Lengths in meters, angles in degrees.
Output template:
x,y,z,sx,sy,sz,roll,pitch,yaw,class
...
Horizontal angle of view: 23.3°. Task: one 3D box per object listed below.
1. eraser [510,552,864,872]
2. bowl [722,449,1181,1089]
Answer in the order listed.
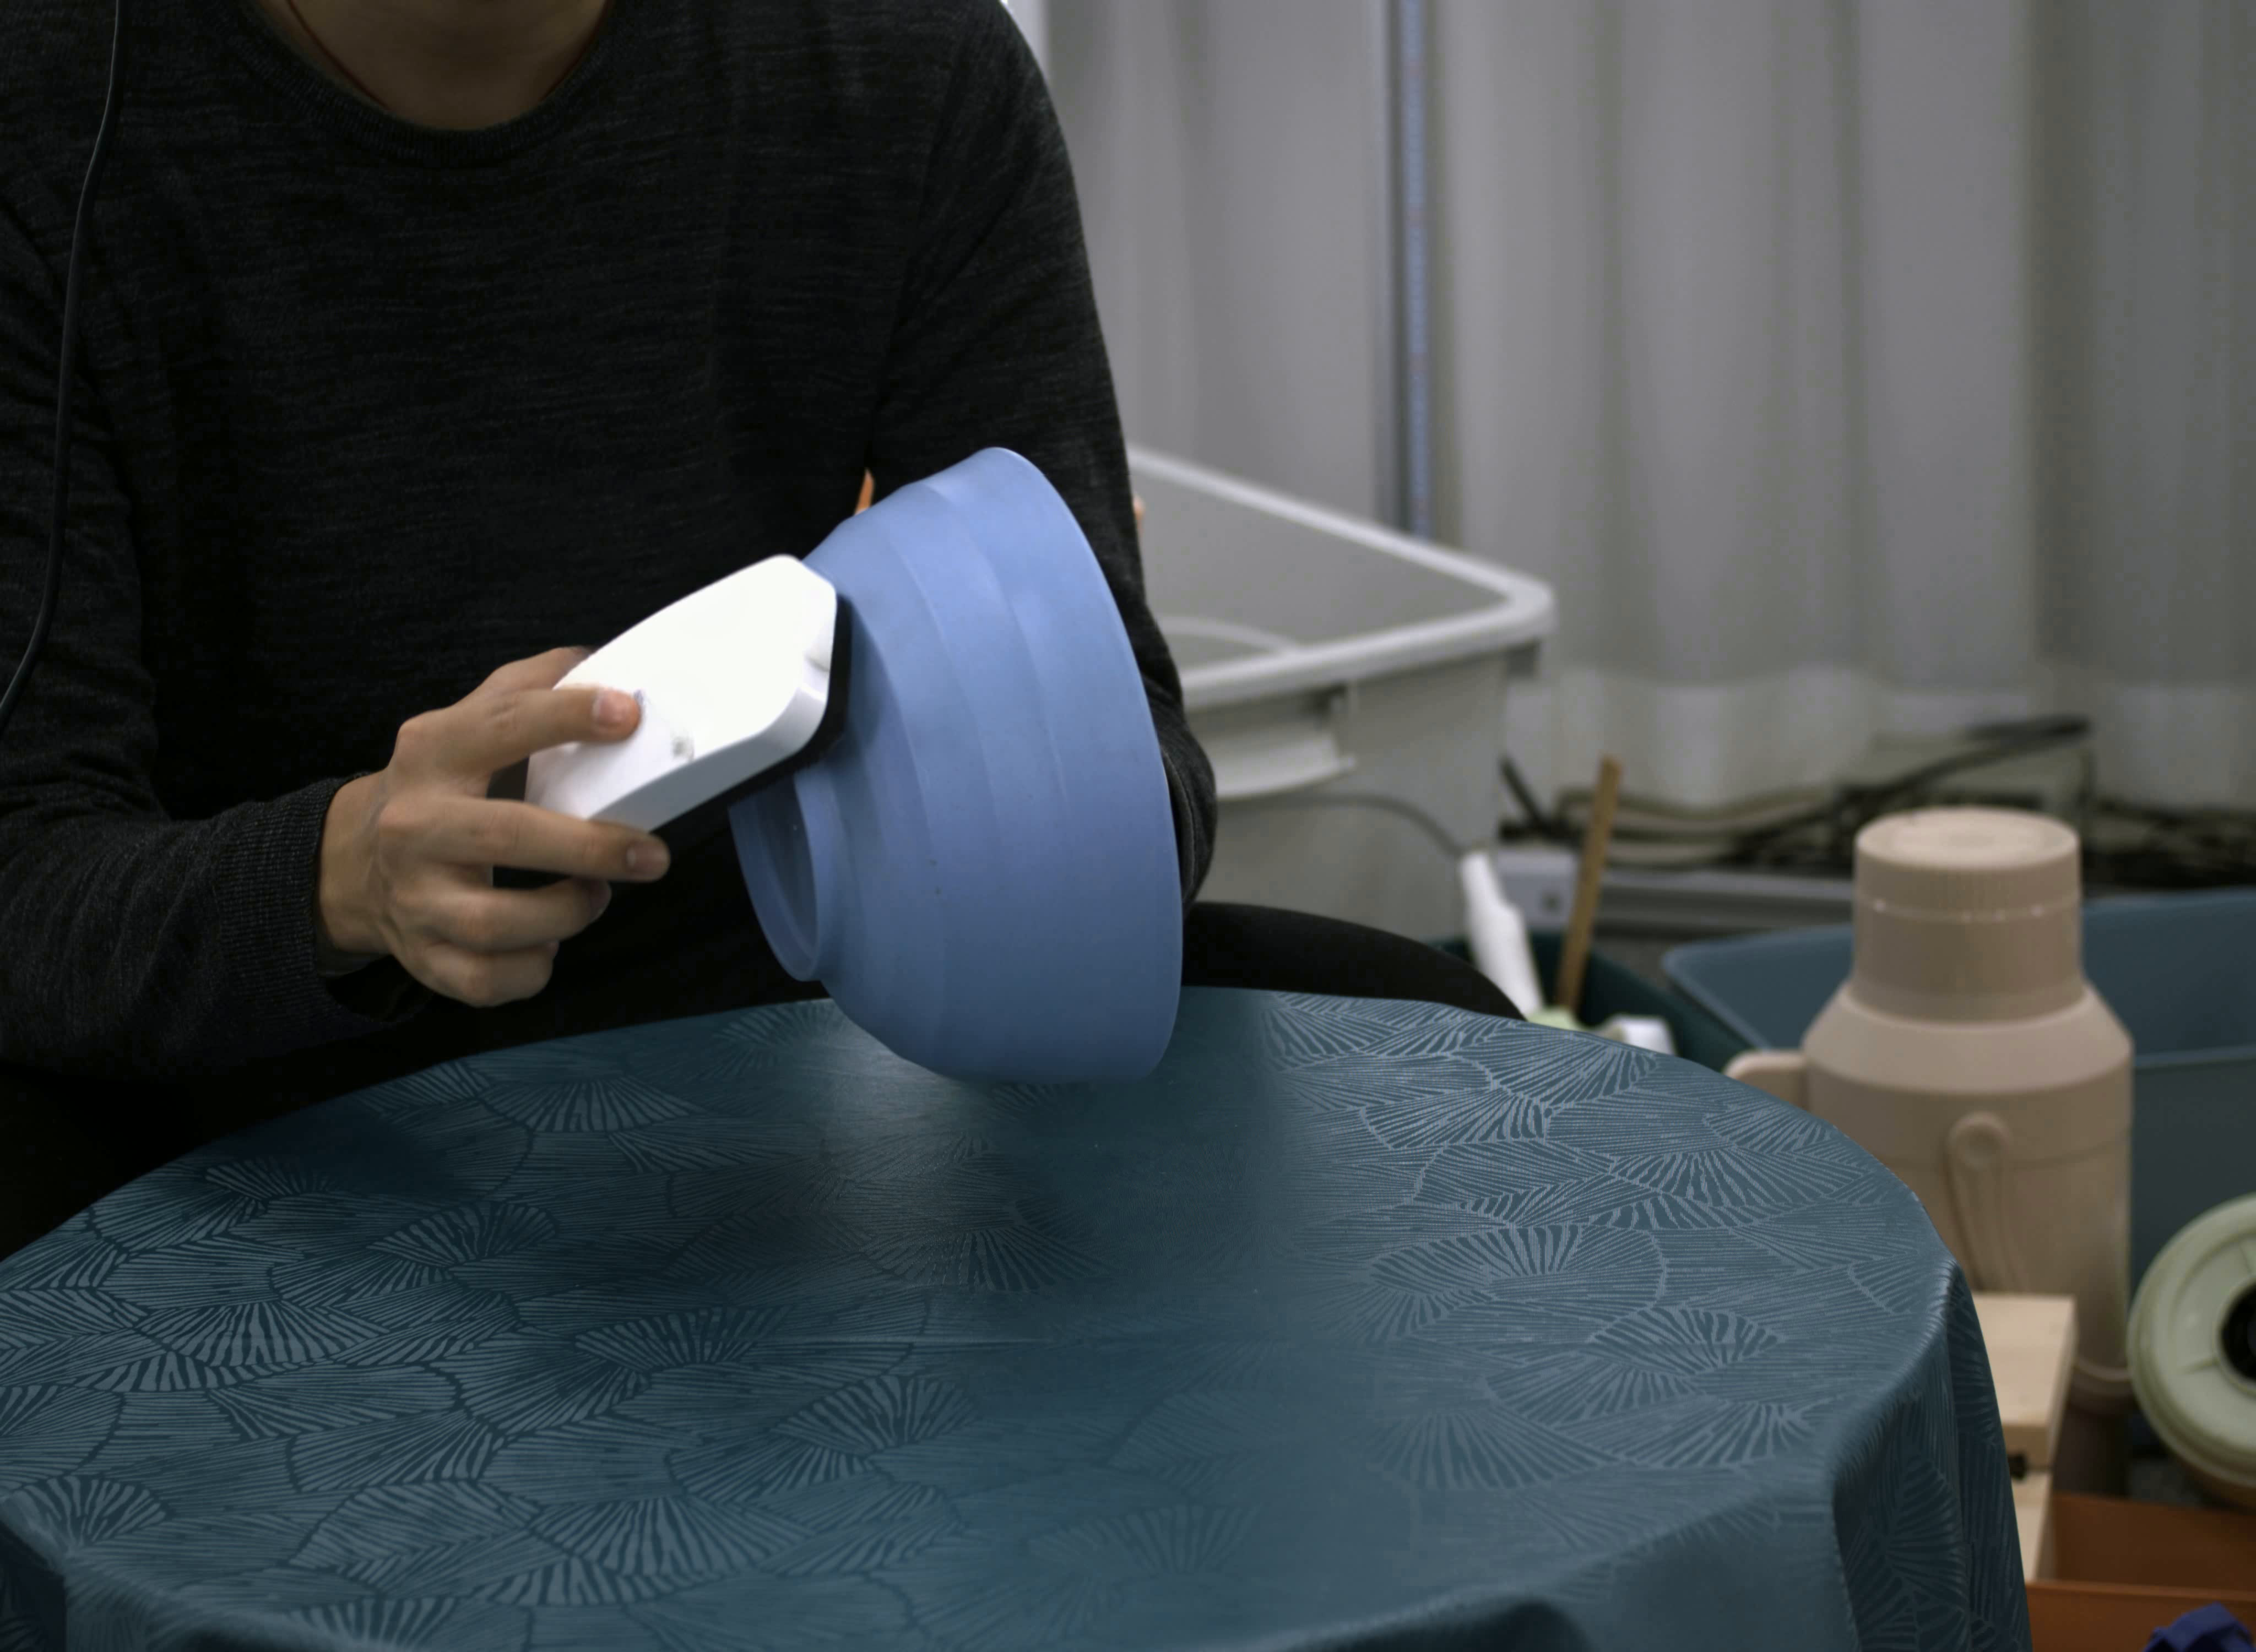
x,y,z,sx,sy,sz,roll,pitch,yaw,class
-0.132,-0.034,1.605,0.034,0.064,0.131,32,-40,-34,eraser
-0.064,-0.008,1.638,0.095,0.195,0.198,-12,17,-18,bowl
